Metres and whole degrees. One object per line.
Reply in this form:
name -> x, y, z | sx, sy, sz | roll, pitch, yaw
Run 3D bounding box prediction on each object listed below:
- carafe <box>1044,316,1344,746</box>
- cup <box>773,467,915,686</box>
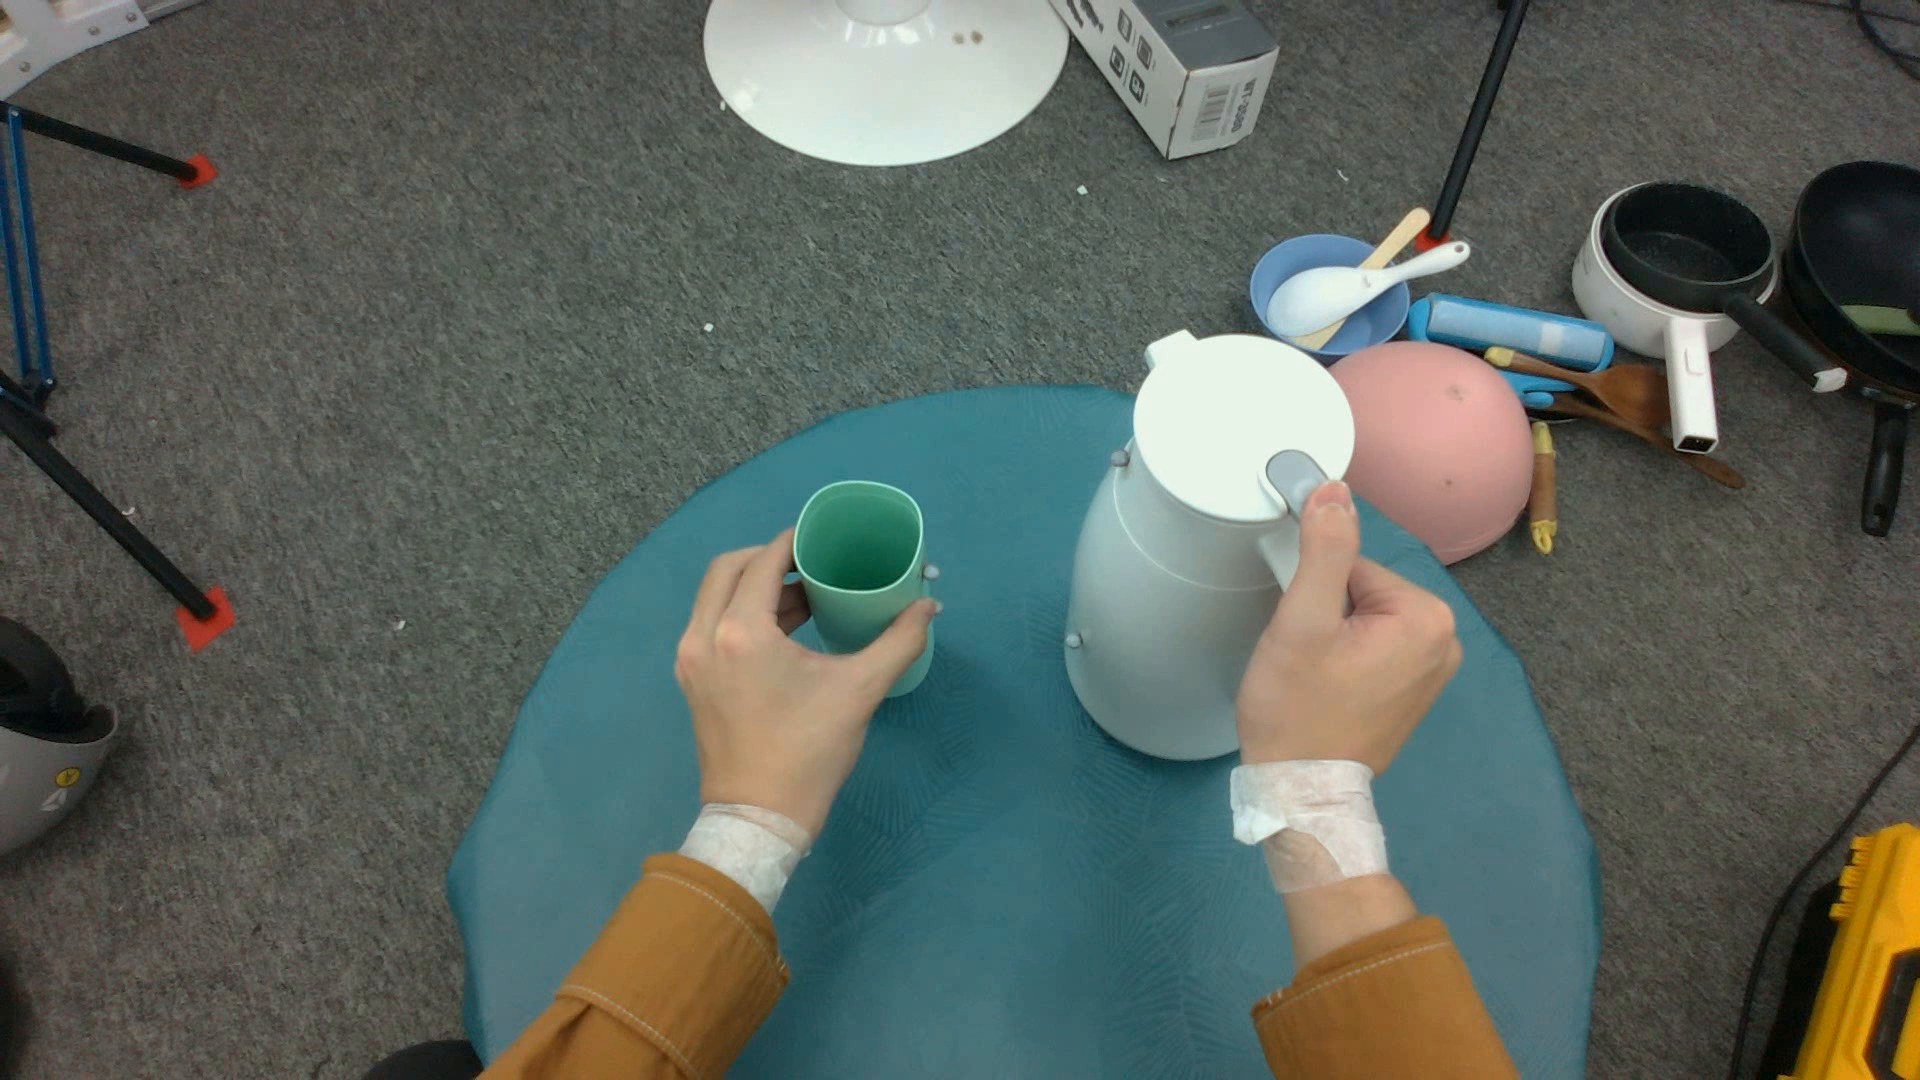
carafe -> 0.122, 0.013, 0.673 | 0.133, 0.247, 0.168 | -25, 65, -13
cup -> -0.058, 0.024, 0.726 | 0.067, 0.132, 0.067 | -1, 60, 1
